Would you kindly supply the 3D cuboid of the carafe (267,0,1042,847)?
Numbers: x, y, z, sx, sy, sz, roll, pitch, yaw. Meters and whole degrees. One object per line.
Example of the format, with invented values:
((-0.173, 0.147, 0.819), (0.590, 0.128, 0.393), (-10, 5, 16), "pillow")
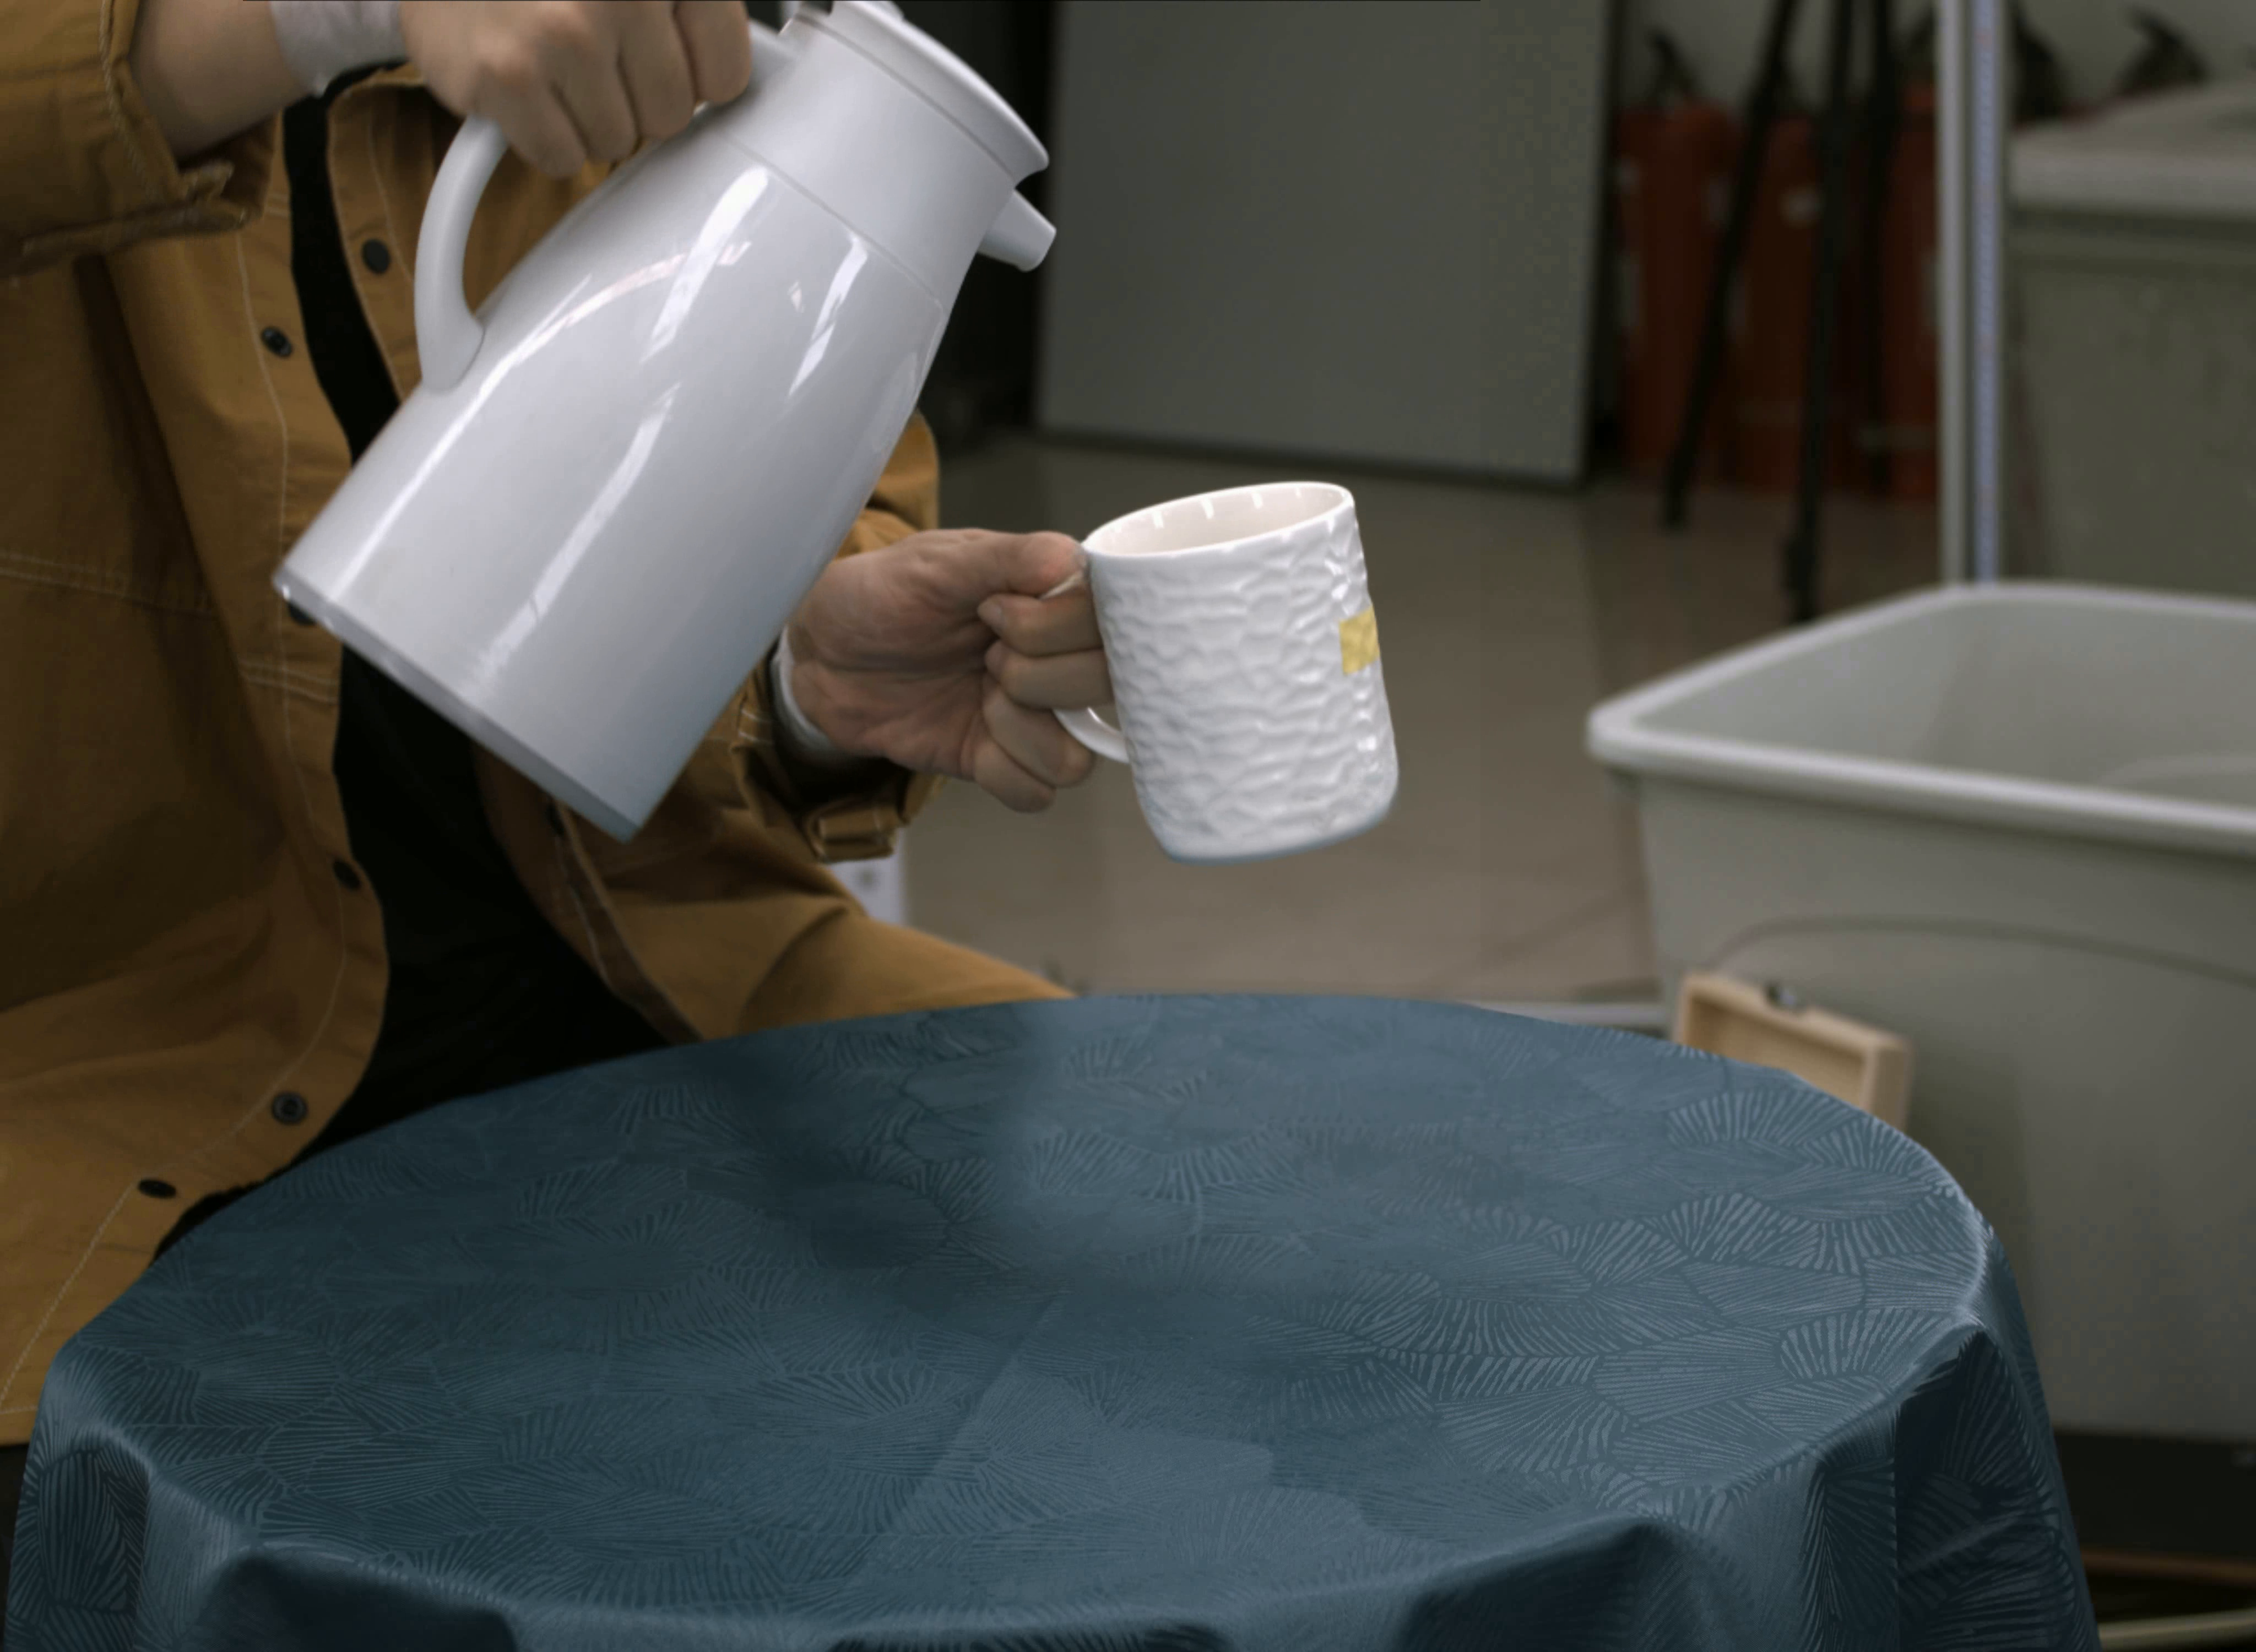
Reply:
((-0.143, -0.143, 1.593), (0.165, 0.249, 0.134), (35, -1, -27), "carafe")

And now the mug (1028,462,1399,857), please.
((0.023, -0.051, 1.682), (0.119, 0.103, 0.084), (0, 19, 35), "mug")
